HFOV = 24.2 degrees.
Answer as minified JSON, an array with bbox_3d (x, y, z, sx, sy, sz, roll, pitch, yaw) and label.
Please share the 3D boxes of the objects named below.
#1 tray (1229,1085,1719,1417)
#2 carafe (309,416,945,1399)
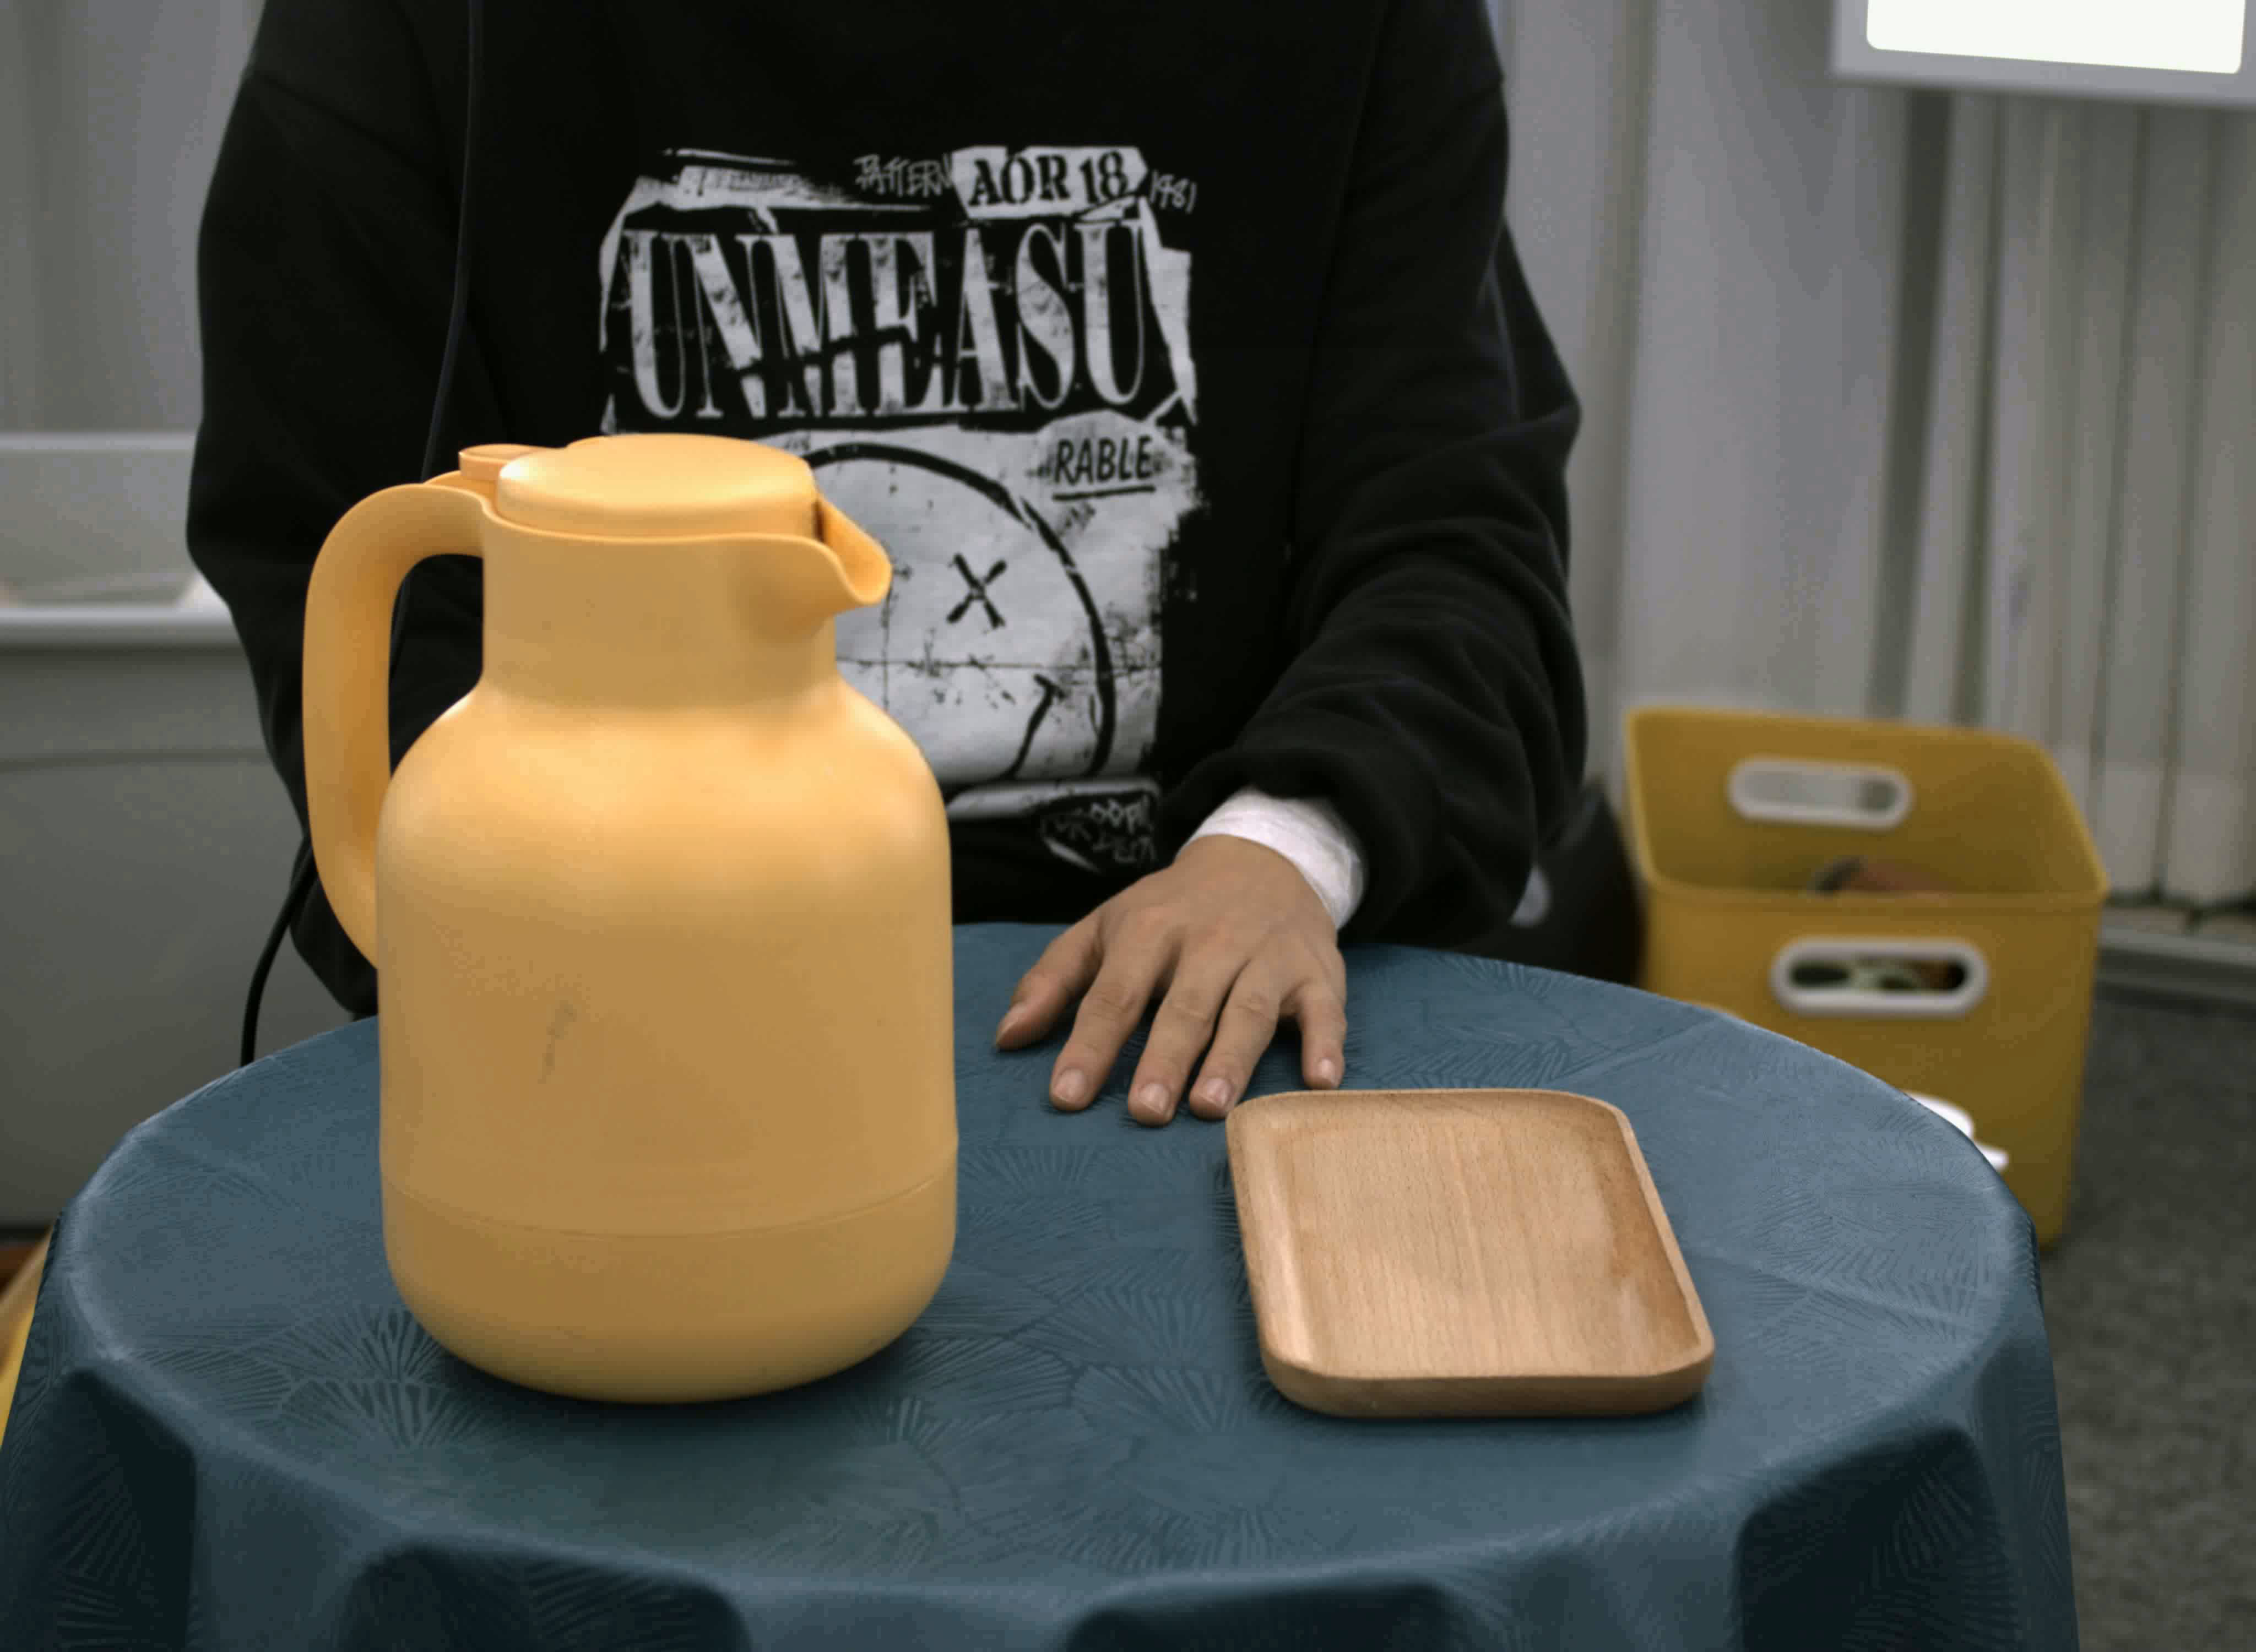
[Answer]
[{"bbox_3d":[0.098,0.122,1.556,0.130,0.023,0.249,2,15,-2],"label":"tray"},{"bbox_3d":[-0.146,0.015,1.474,0.200,0.262,0.164,14,18,33],"label":"carafe"}]
